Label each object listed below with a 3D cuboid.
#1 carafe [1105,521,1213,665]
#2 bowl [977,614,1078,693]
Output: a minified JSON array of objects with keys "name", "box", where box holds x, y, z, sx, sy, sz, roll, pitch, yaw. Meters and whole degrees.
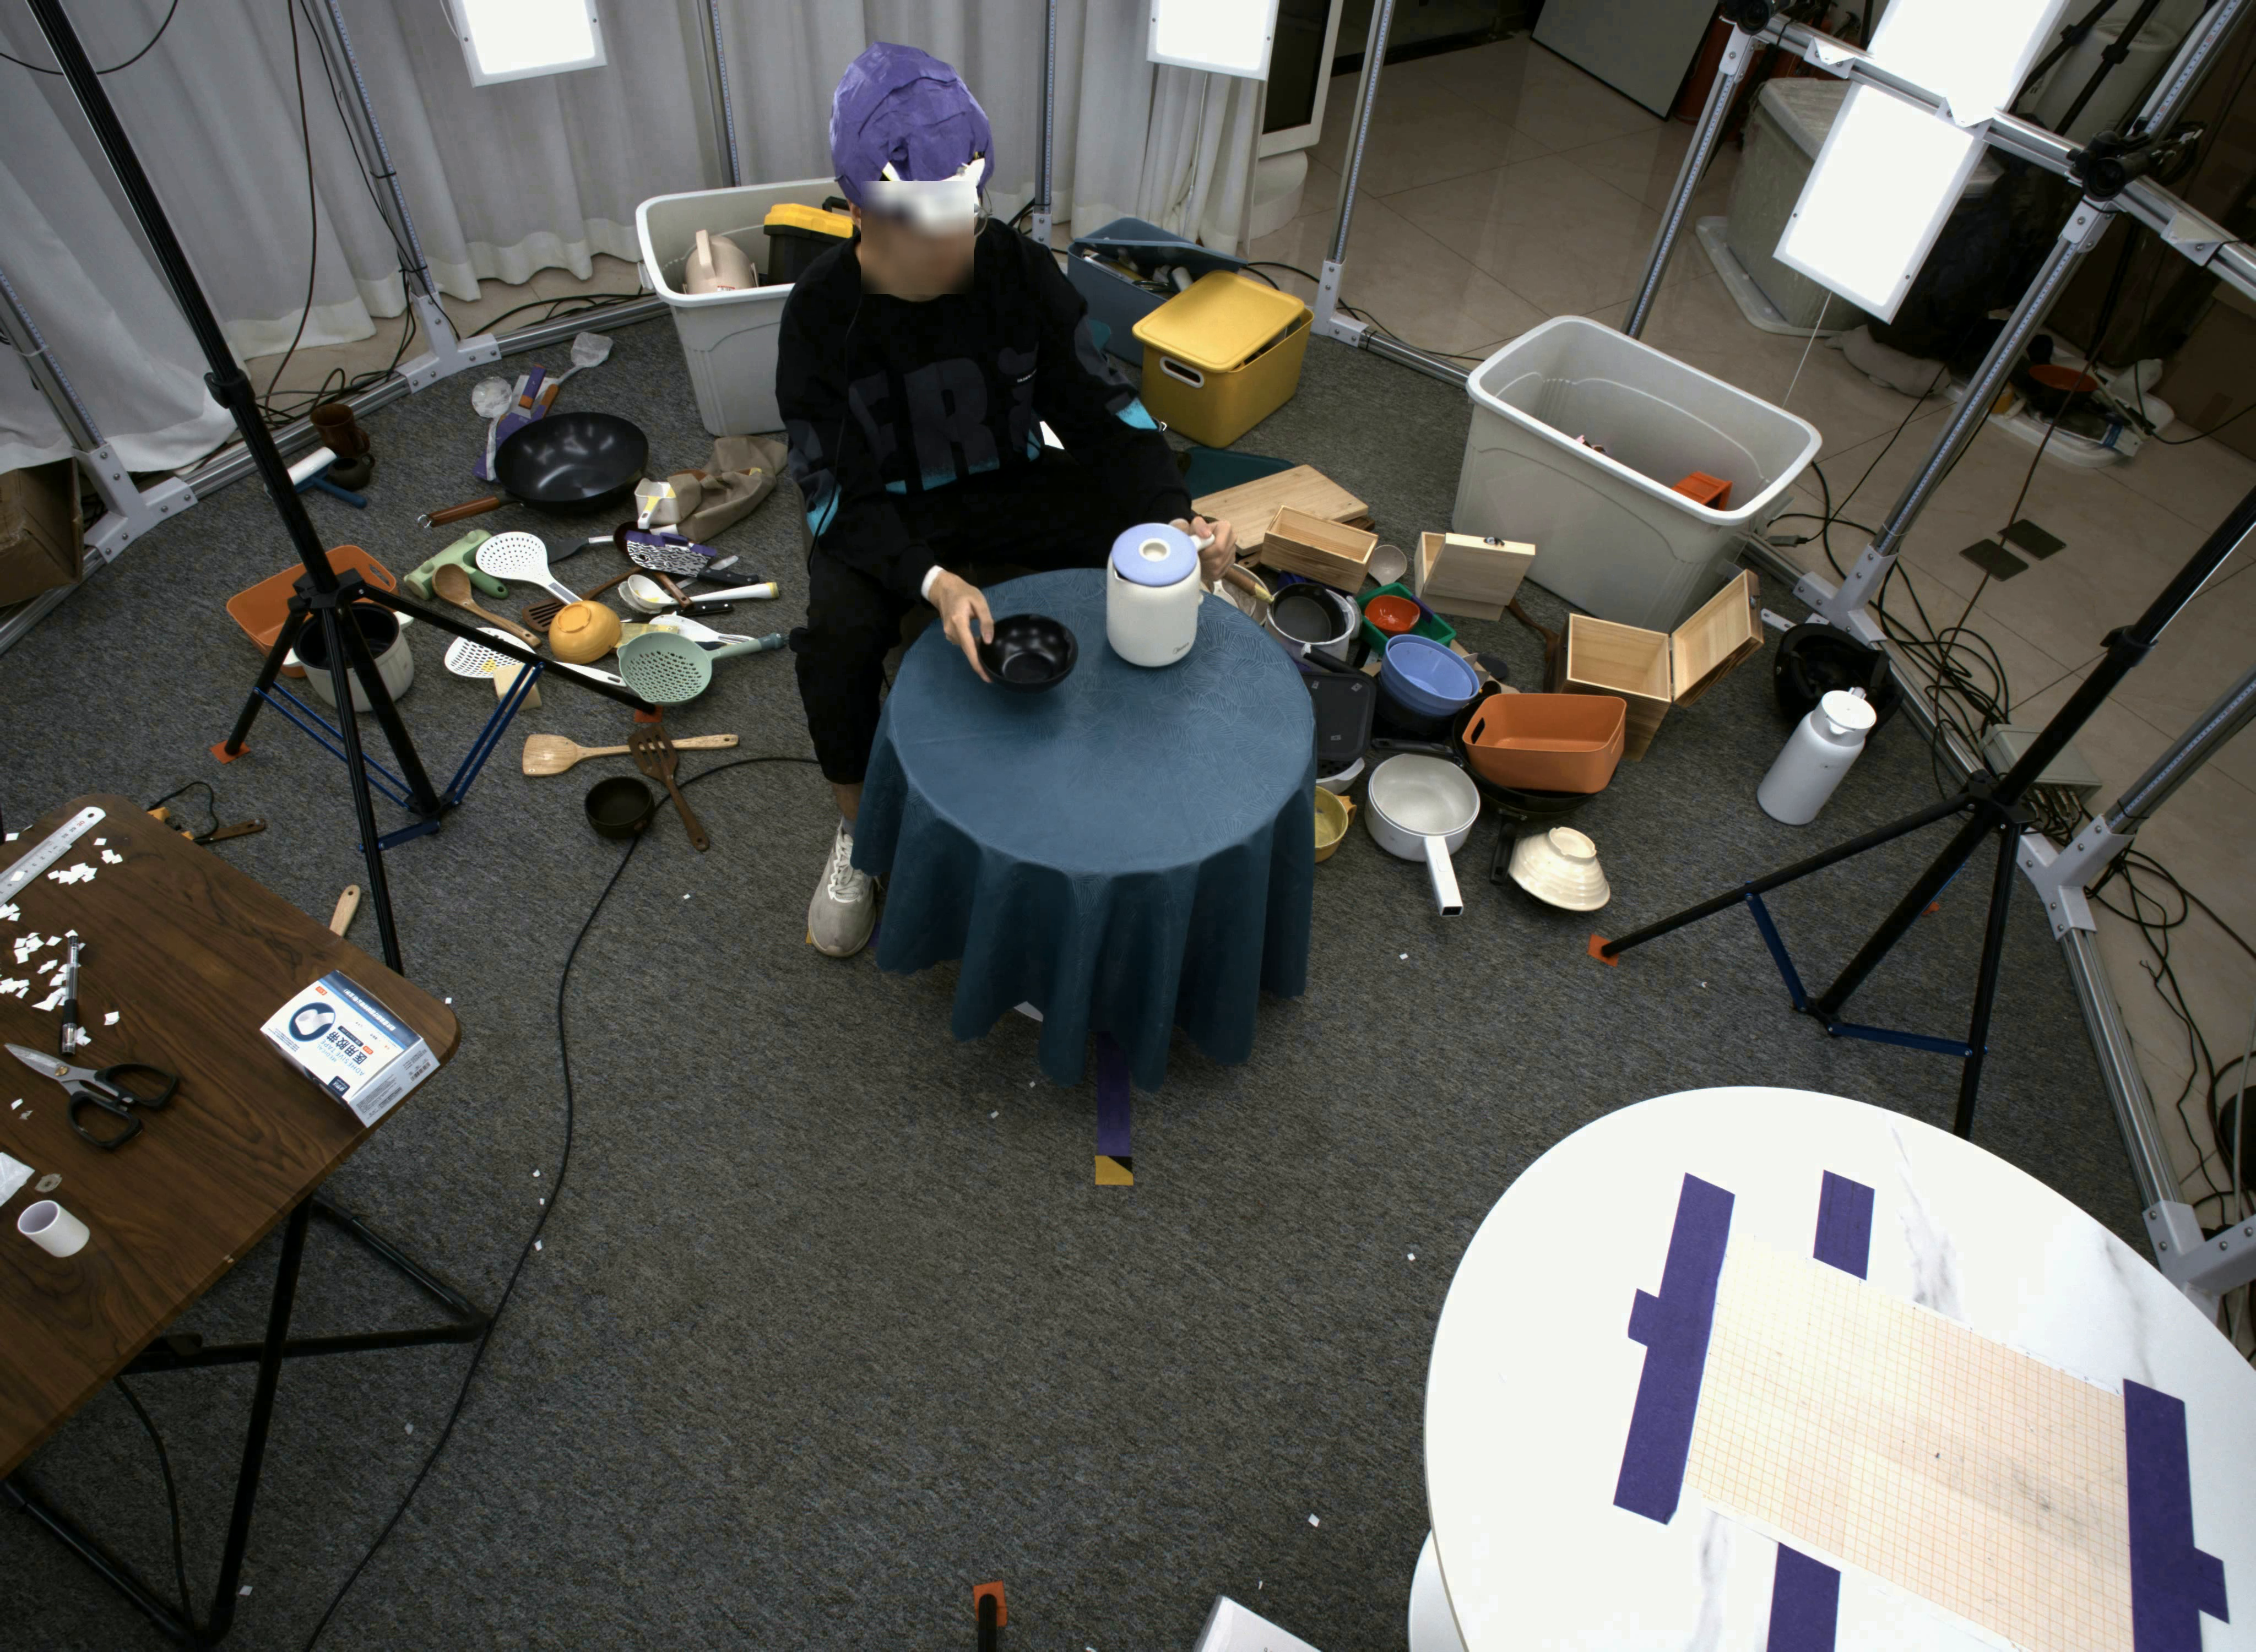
[{"name":"carafe","box":[0.052,-0.343,1.835,0.192,0.178,0.134,-34,63,-24]},{"name":"bowl","box":[-0.138,-0.232,1.789,0.140,0.048,0.143,0,49,0]}]
